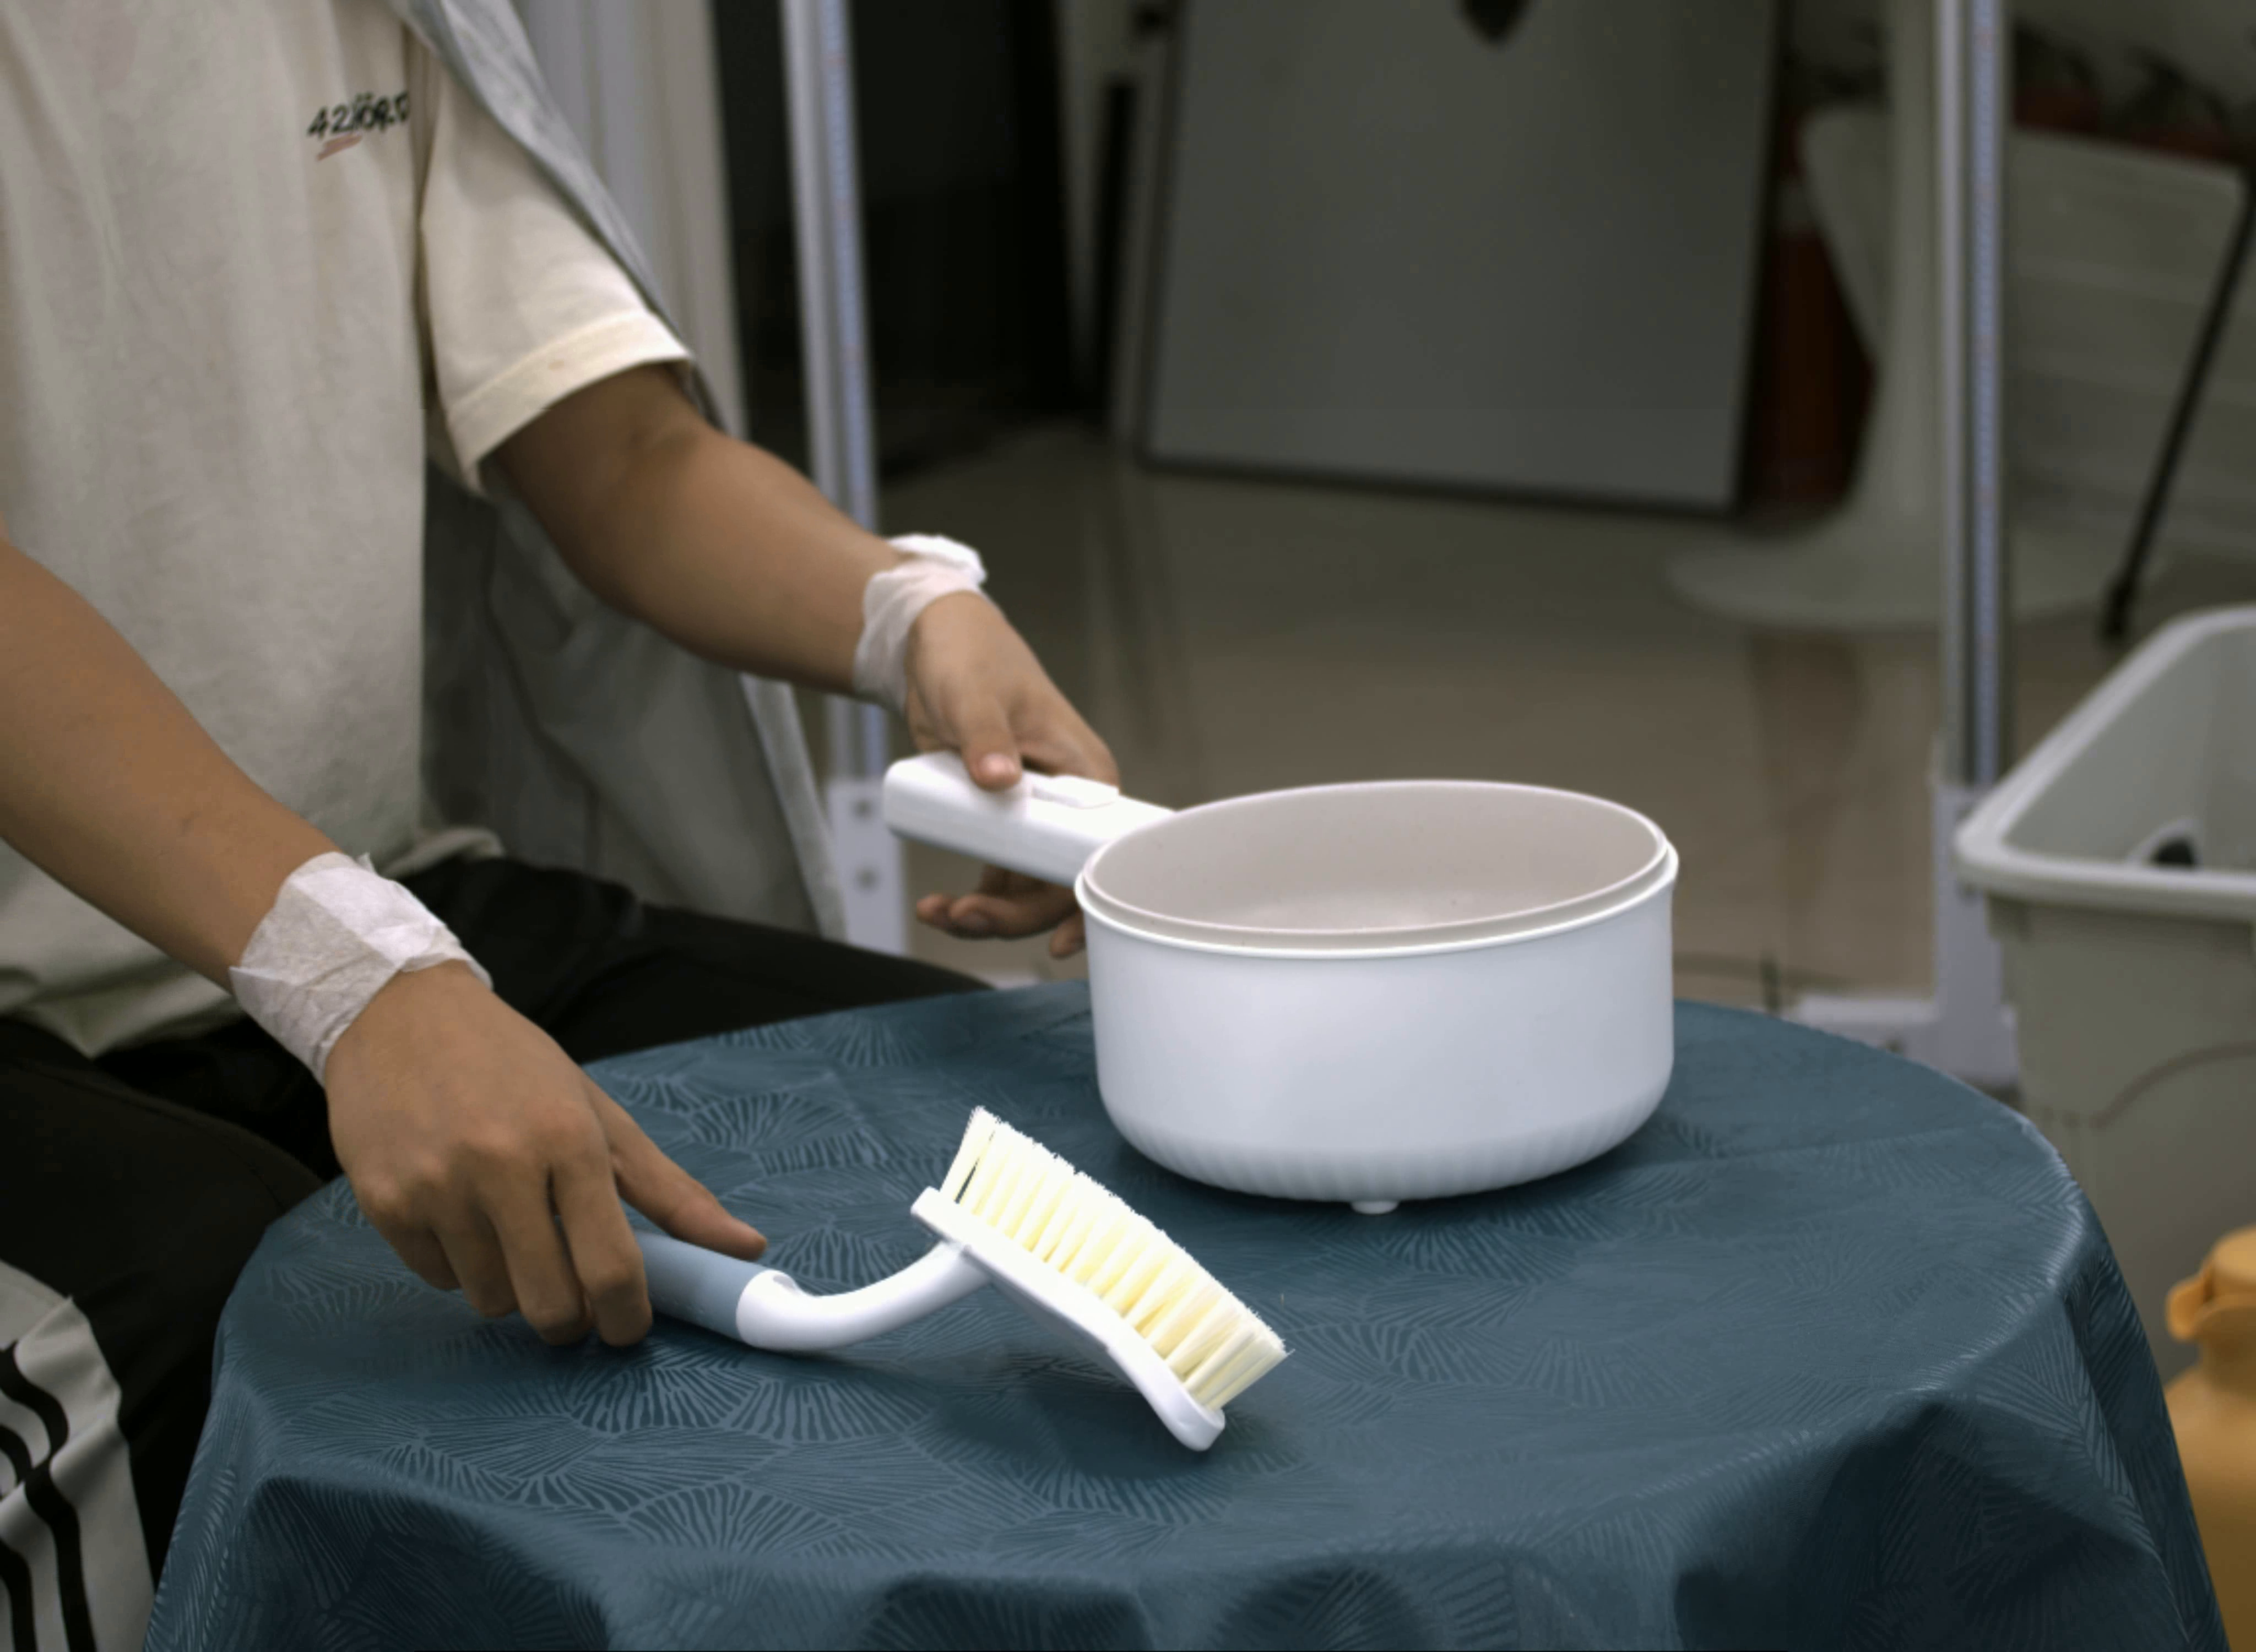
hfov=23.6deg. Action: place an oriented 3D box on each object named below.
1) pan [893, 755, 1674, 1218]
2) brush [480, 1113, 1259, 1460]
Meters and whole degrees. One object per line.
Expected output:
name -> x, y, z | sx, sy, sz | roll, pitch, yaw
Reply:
pan -> 0.037, 0.047, 1.856 | 0.197, 0.103, 0.358 | -14, 16, -36
brush -> -0.080, 0.118, 1.640 | 0.083, 0.084, 0.328 | -23, 24, -39
